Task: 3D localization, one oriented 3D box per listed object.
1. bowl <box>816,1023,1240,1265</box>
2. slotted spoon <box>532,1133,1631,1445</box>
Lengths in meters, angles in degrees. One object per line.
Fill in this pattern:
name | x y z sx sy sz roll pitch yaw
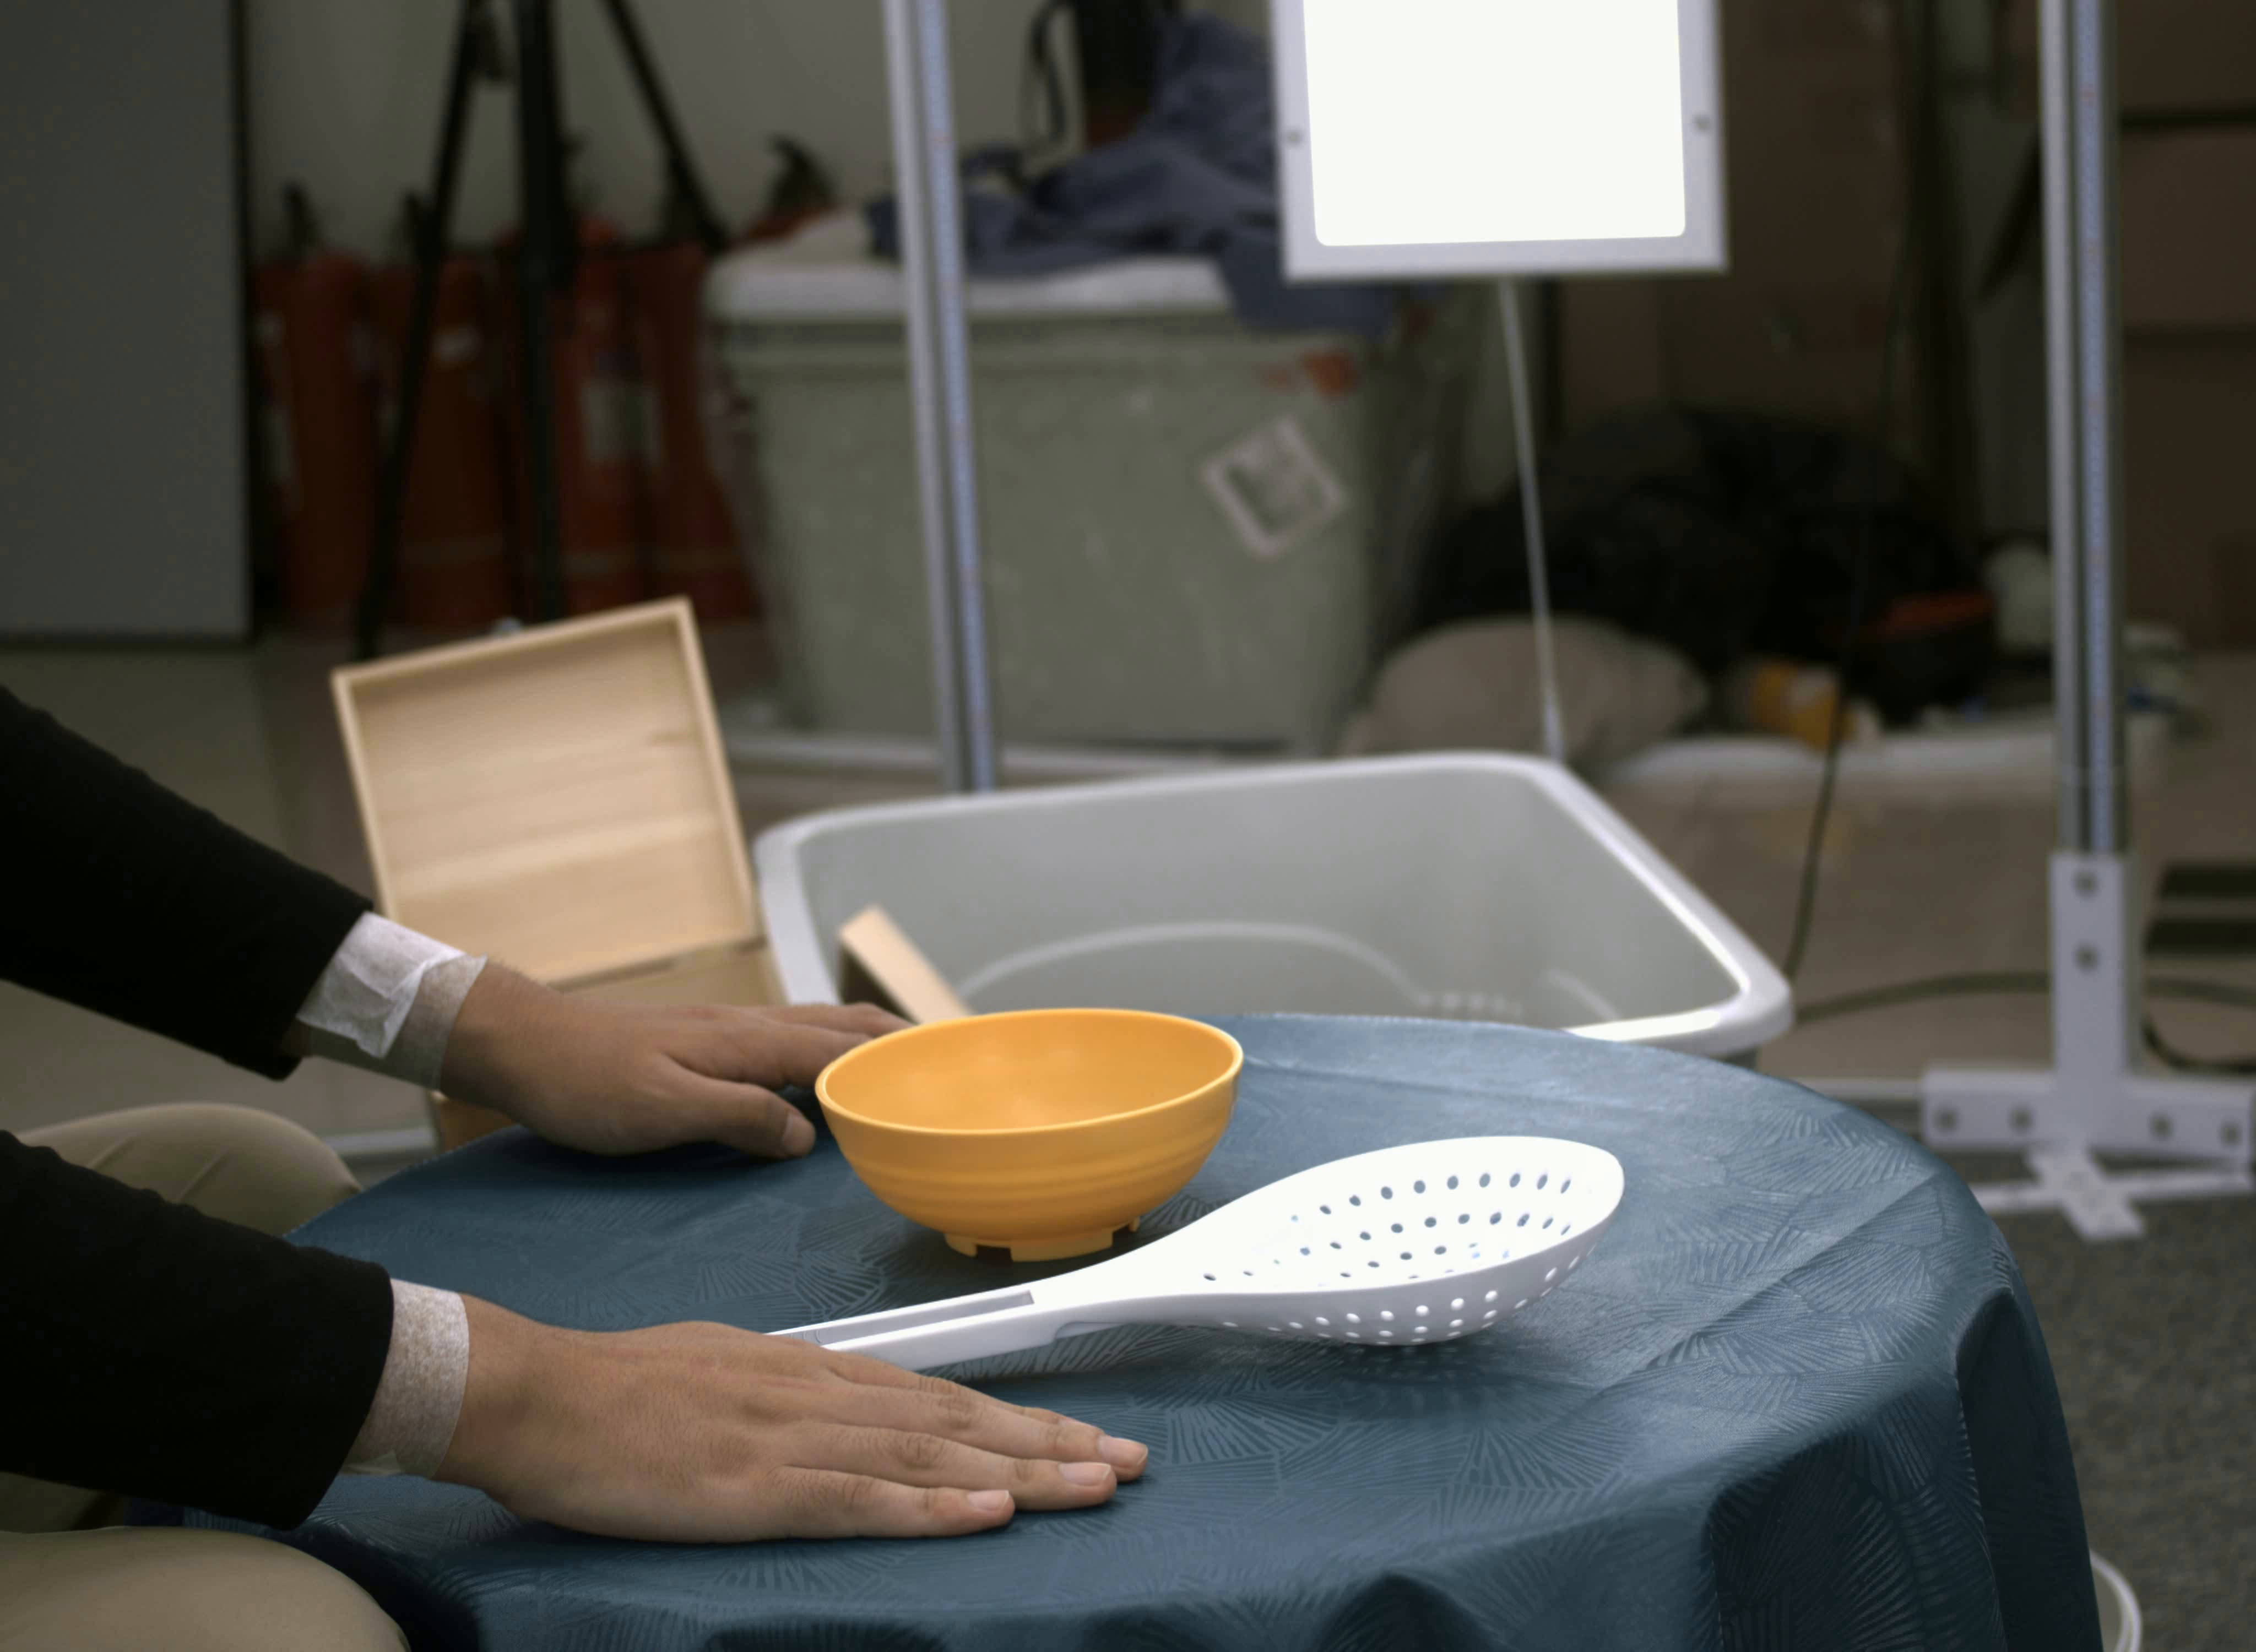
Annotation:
bowl | -0.032 0.111 1.857 0.145 0.060 0.145 -4 12 -1
slotted spoon | -0.013 0.148 1.719 0.347 0.046 0.136 -7 13 -4
